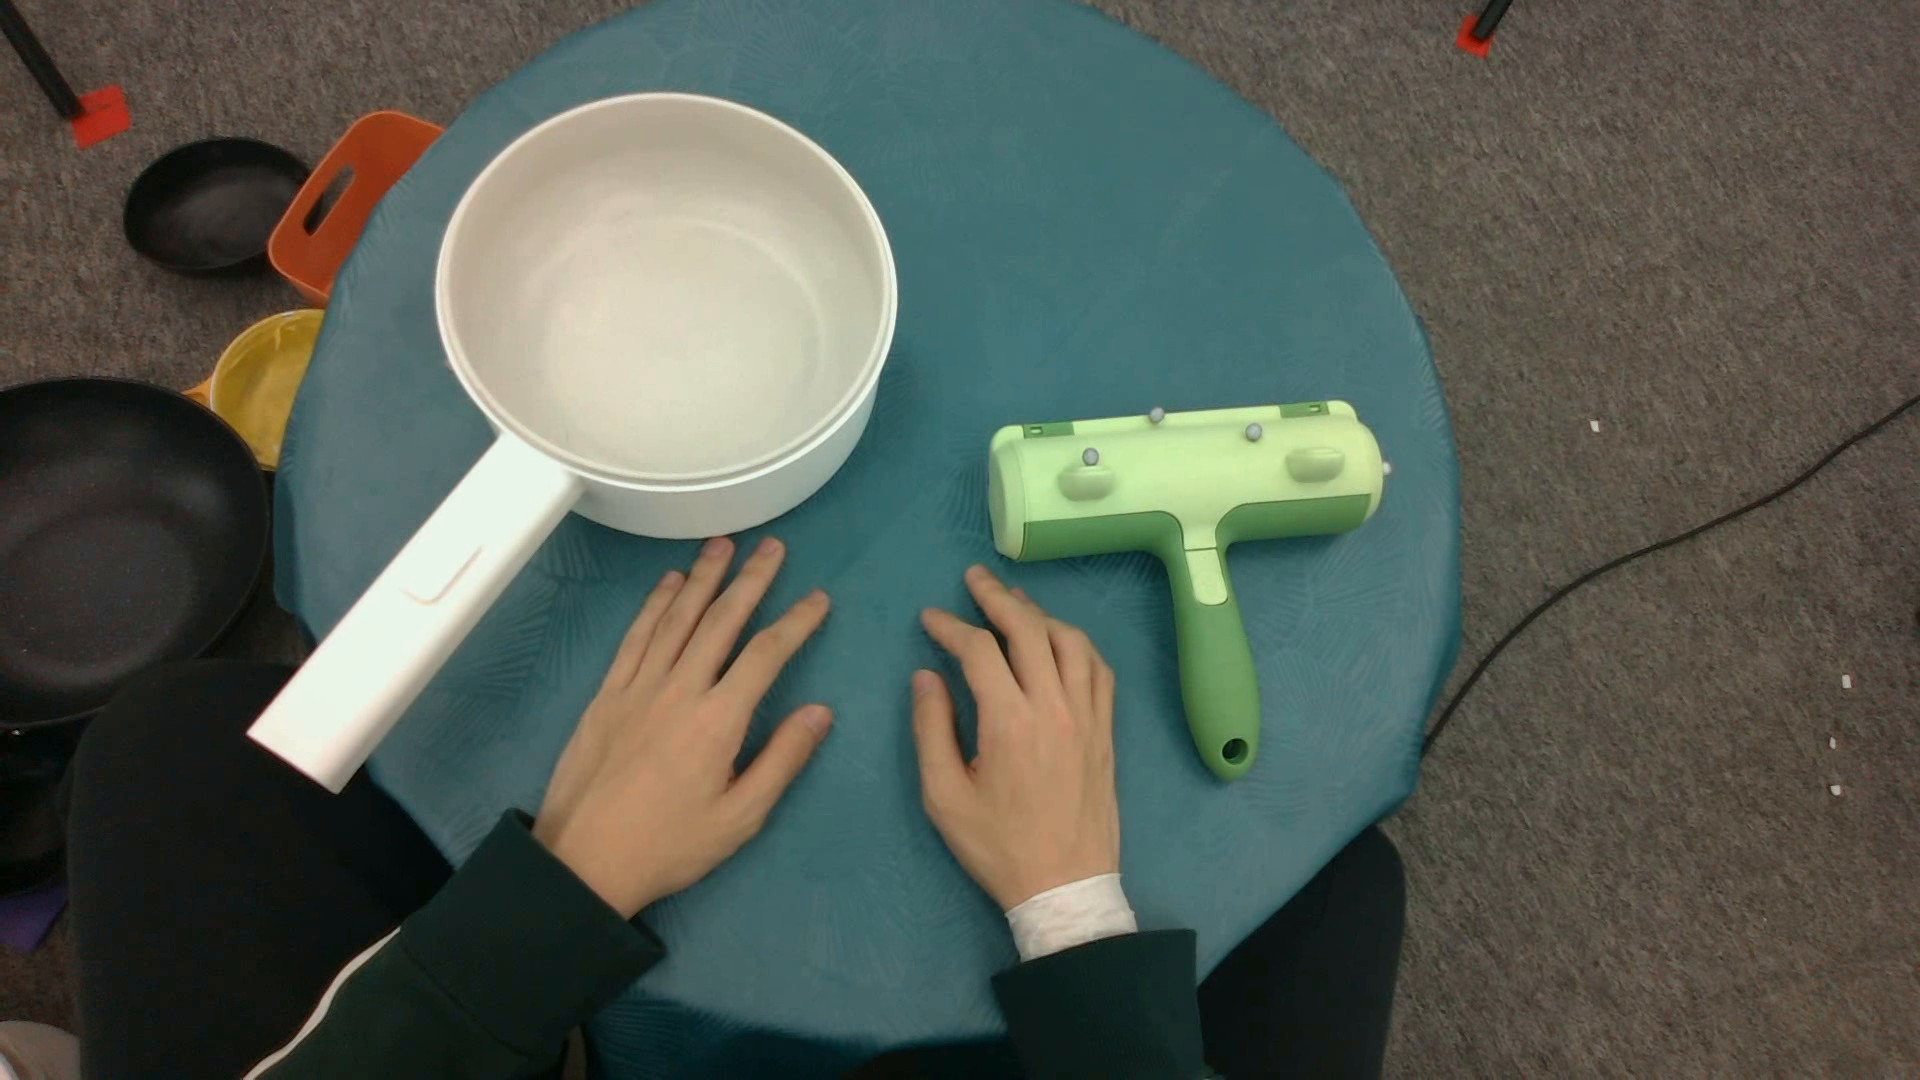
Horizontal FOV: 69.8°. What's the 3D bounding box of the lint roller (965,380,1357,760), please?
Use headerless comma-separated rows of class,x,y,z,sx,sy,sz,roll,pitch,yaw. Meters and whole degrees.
lint roller,0.112,0.009,0.669,0.199,0.082,0.184,-6,66,-11

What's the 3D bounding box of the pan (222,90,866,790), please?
pan,-0.186,-0.042,0.632,0.201,0.101,0.356,31,69,2
